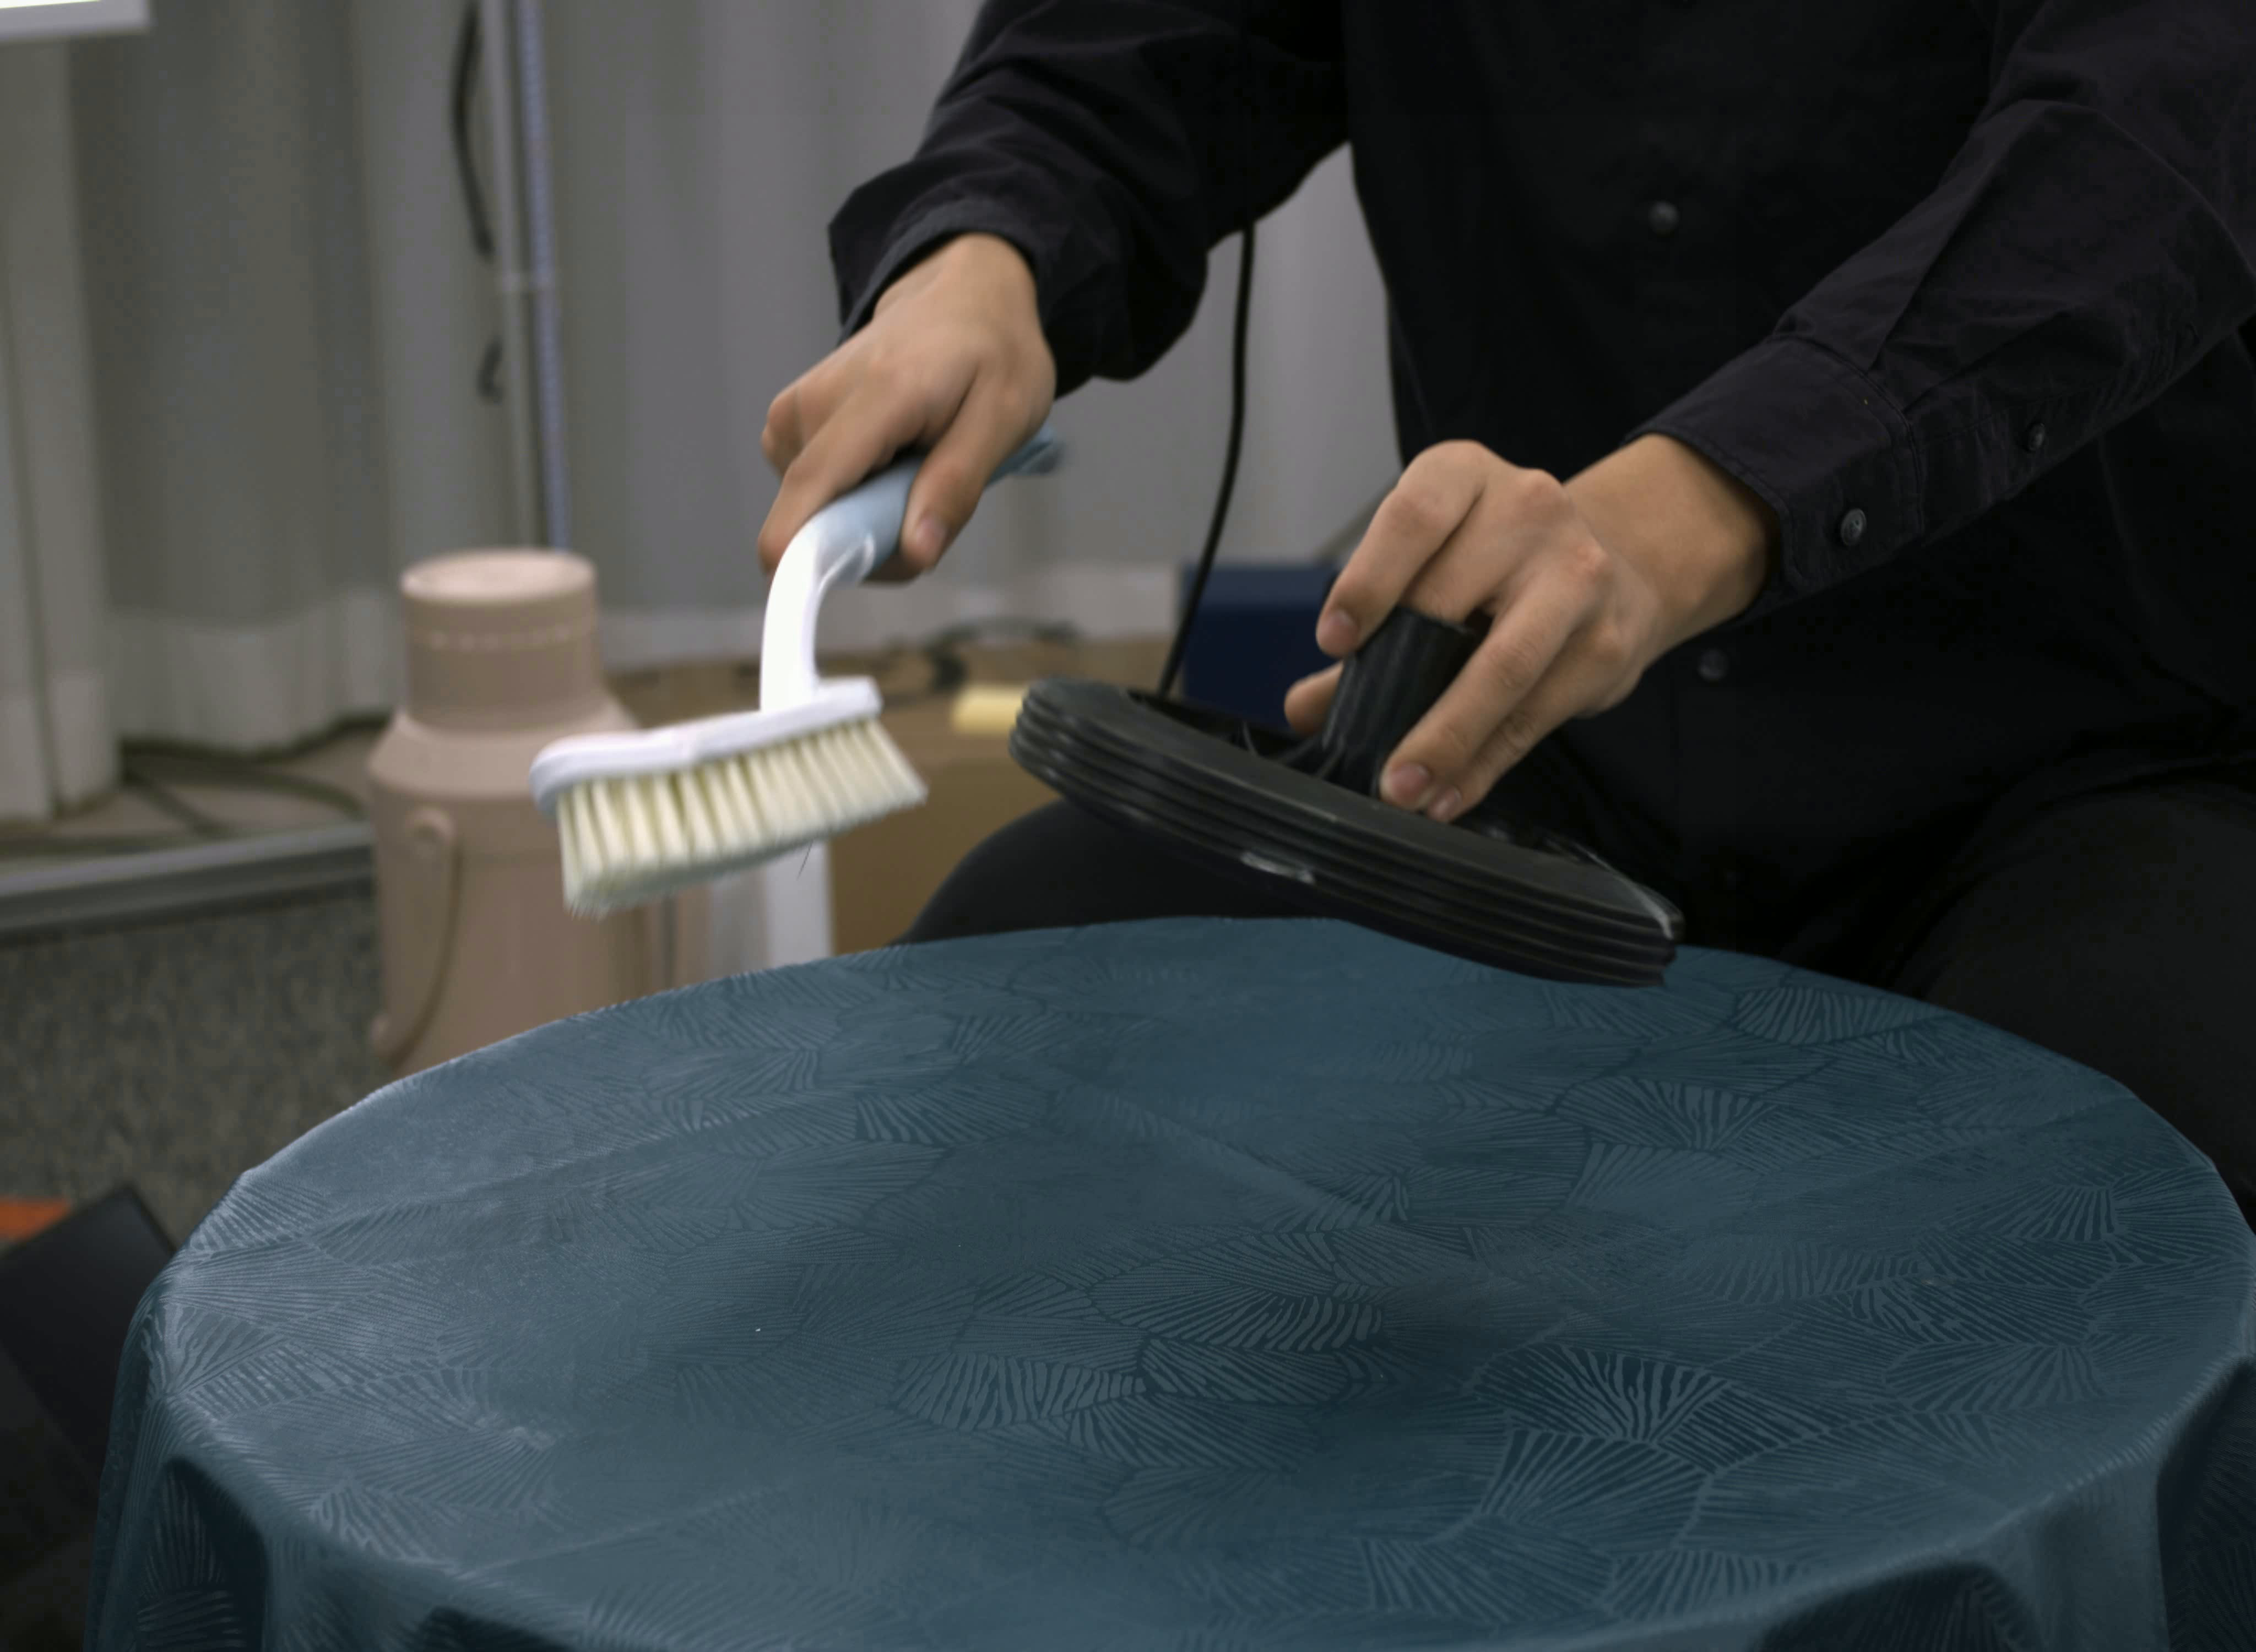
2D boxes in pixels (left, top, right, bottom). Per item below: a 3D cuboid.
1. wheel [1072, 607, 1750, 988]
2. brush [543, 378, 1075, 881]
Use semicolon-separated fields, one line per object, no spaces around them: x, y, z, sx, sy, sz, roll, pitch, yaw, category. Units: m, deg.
0.083;-0.016;1.422;0.184;0.079;0.193;18;5;-20;wheel
-0.073;-0.049;1.613;0.084;0.084;0.321;16;27;20;brush
